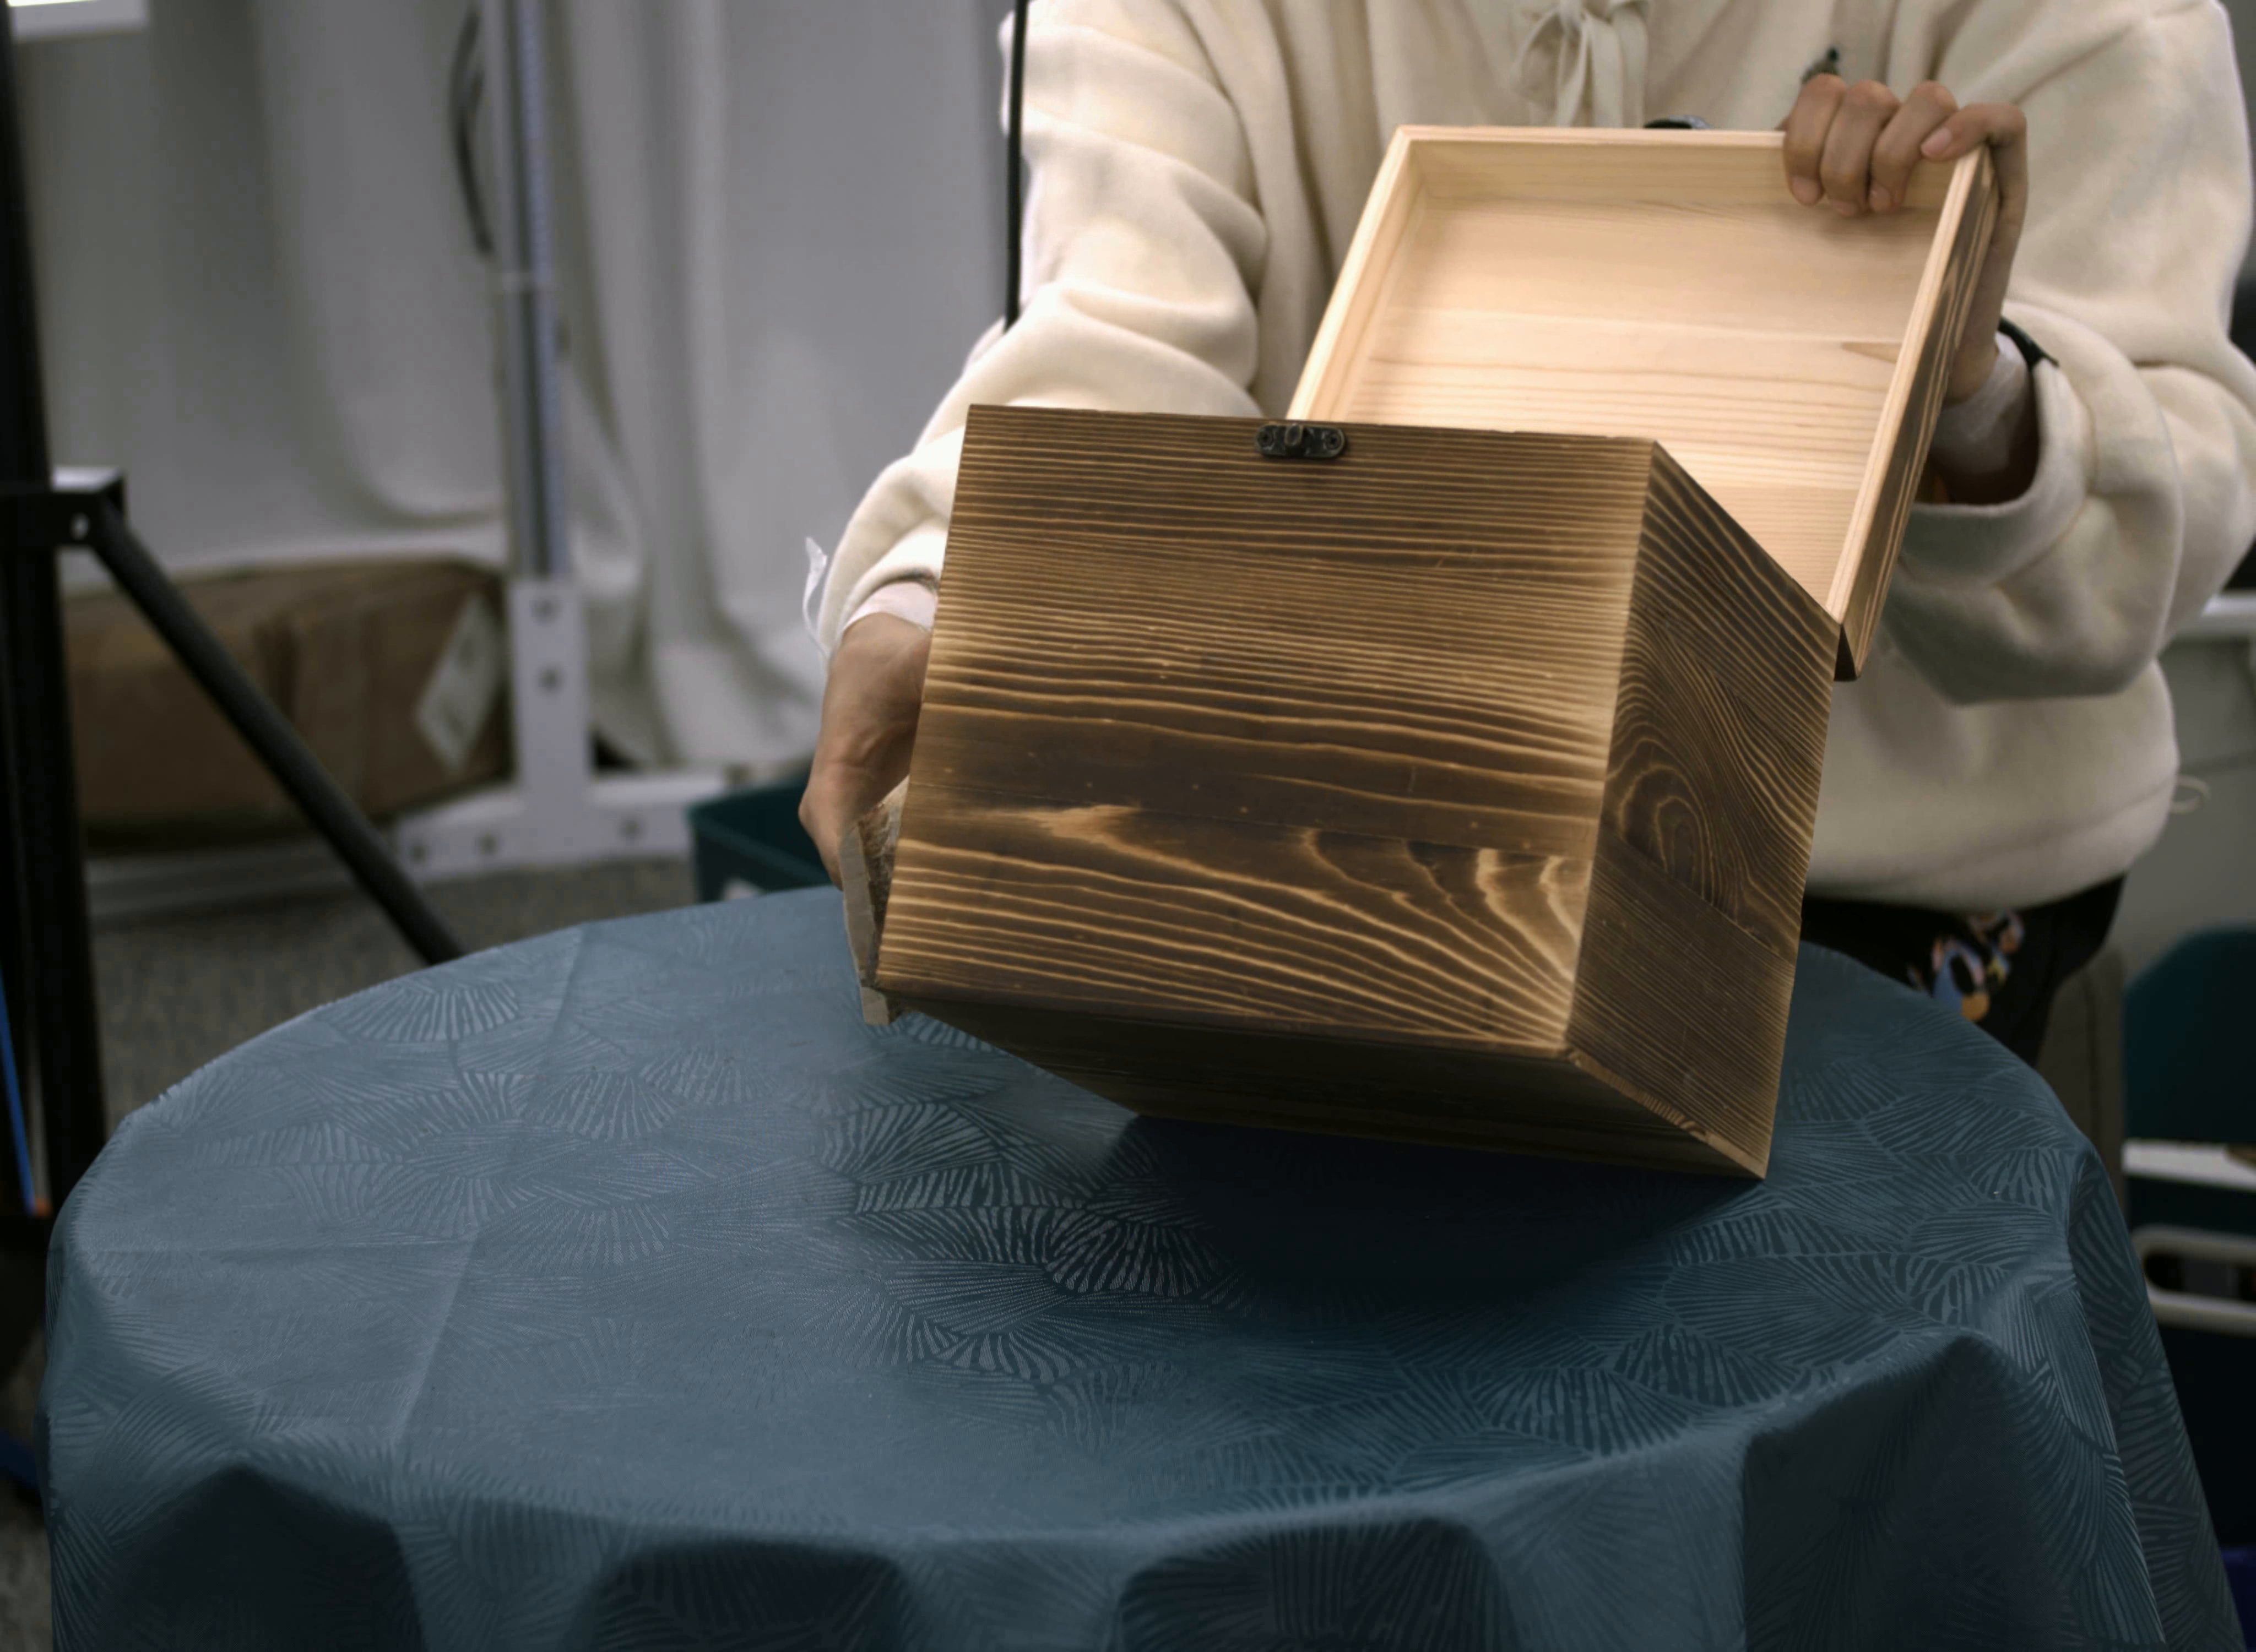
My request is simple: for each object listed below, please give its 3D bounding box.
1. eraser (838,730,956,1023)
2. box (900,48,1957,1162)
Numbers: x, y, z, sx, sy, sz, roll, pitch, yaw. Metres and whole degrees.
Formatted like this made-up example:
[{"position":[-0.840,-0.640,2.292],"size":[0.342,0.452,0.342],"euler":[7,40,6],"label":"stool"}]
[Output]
[{"position":[-0.039,0.003,1.547],"size":[0.029,0.057,0.138],"euler":[3,25,25],"label":"eraser"},{"position":[0.102,-0.092,1.574],"size":[0.211,0.378,0.315],"euler":[3,-11,23],"label":"box"}]
